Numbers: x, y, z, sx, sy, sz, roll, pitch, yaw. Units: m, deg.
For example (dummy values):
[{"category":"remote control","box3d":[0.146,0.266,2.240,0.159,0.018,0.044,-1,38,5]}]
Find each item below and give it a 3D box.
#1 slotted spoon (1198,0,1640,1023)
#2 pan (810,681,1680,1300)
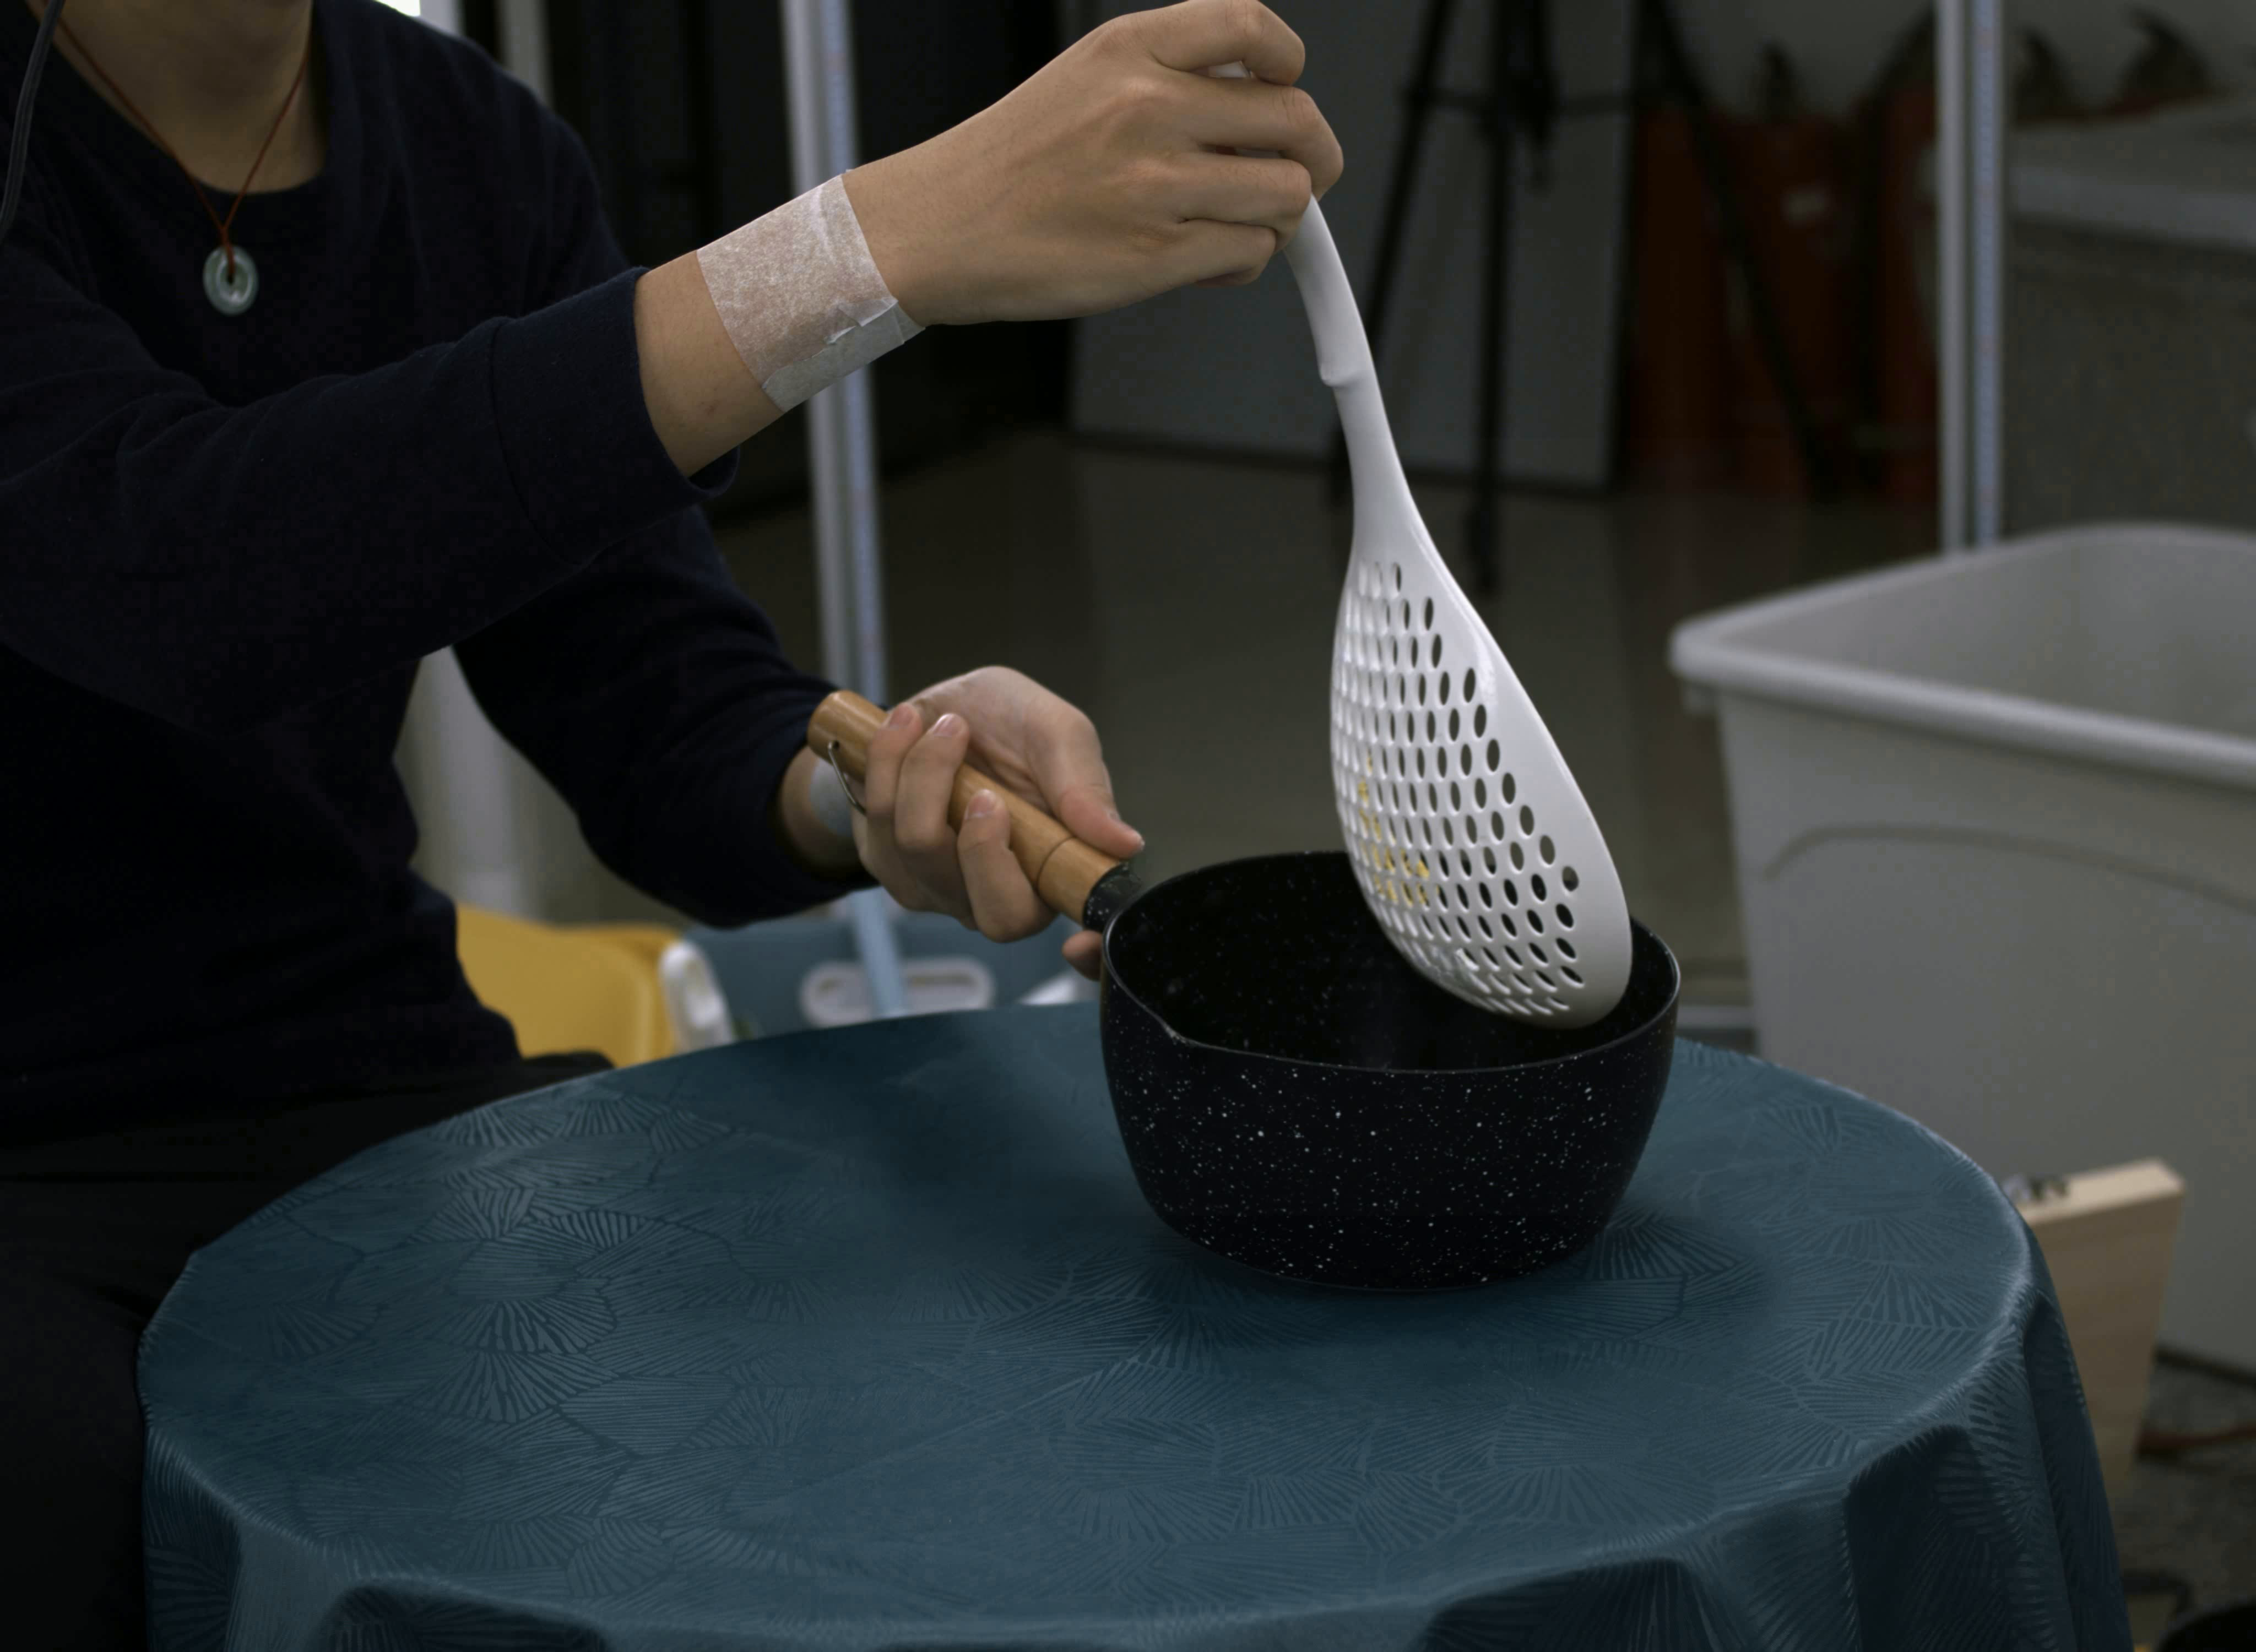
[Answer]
[{"category":"slotted spoon","box3d":[0.076,-0.093,1.670,0.049,0.350,0.138,-23,20,-27]},{"category":"pan","box3d":[0.021,0.048,1.747,0.345,0.109,0.203,19,27,37]}]
